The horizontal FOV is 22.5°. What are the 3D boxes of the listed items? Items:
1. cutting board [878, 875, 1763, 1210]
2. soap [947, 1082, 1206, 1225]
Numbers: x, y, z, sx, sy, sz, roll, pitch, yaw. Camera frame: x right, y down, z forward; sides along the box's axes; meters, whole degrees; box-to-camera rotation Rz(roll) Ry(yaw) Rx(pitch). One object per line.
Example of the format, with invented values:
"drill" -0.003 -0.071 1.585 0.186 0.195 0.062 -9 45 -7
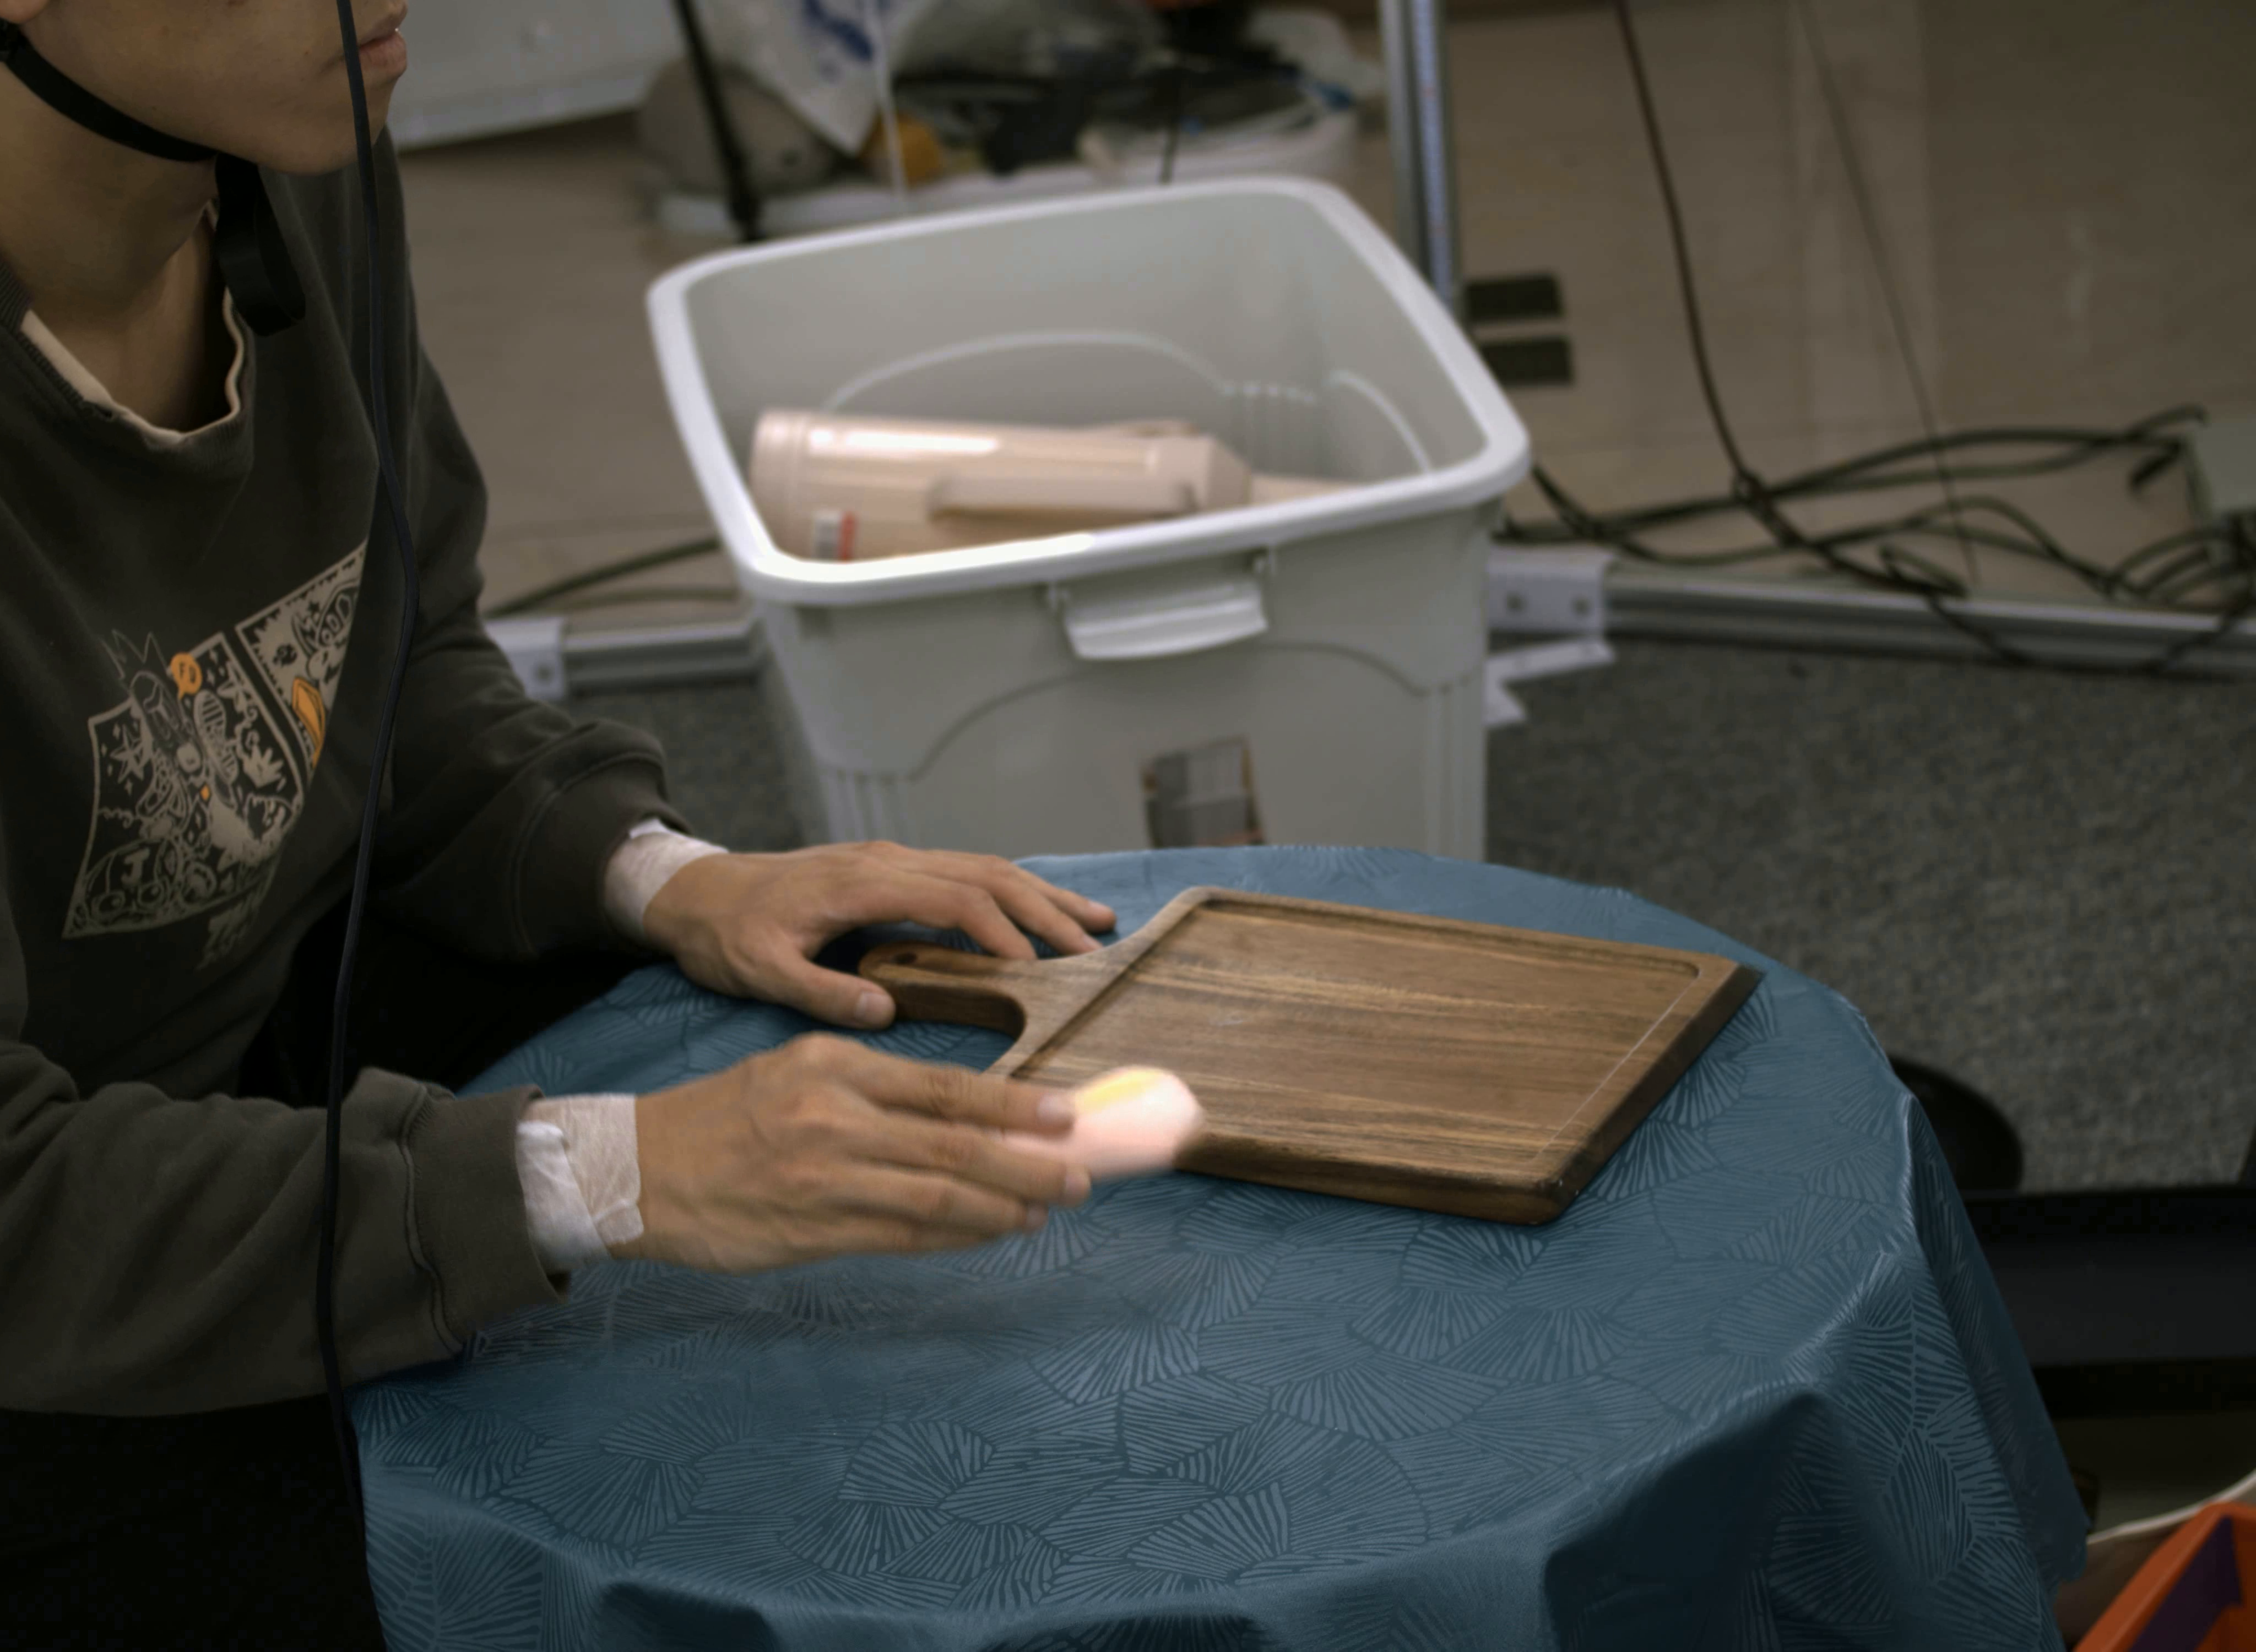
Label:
"cutting board" 0.055 0.075 2.244 0.350 0.023 0.198 8 28 29
"soap" -0.019 0.119 2.055 0.094 0.031 0.049 -14 29 -5
